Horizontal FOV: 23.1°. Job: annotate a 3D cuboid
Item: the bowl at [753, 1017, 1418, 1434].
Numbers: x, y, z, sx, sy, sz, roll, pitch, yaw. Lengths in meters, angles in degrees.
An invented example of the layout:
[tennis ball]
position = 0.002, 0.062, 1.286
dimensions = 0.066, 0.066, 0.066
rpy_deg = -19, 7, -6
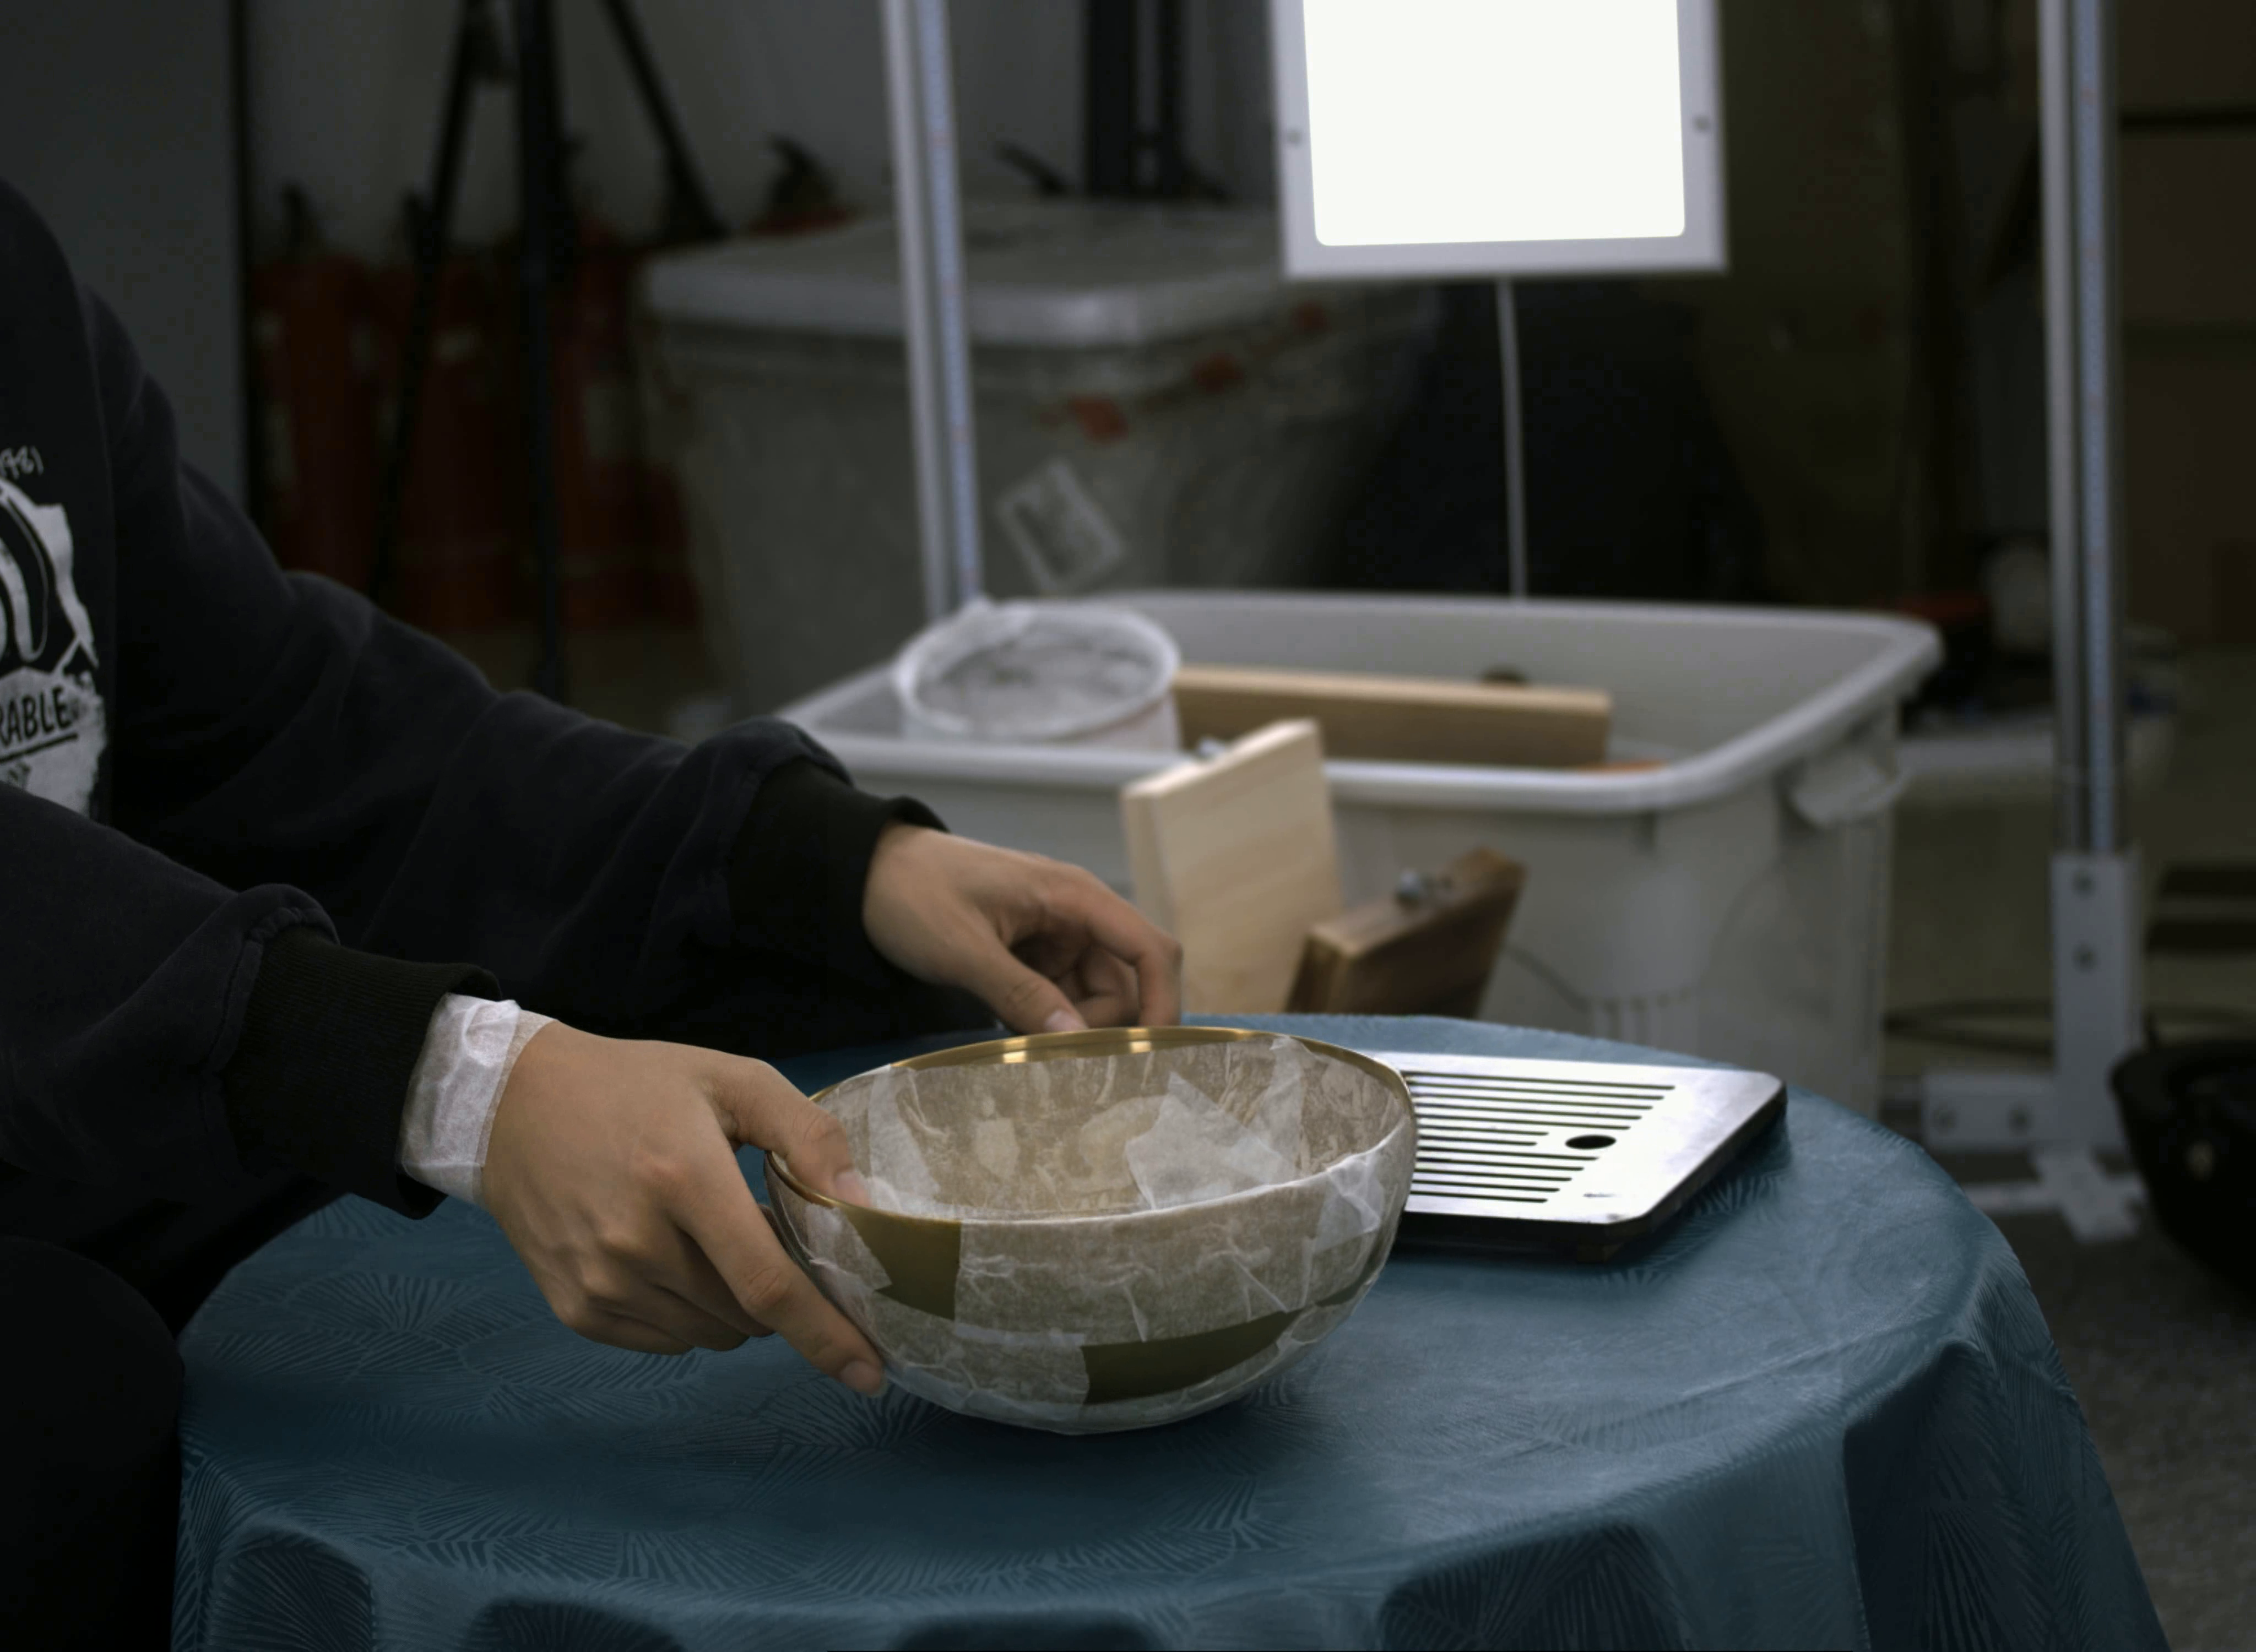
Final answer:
[bowl]
position = -0.009, 0.130, 1.692
dimensions = 0.214, 0.095, 0.214
rpy_deg = -6, 14, 0

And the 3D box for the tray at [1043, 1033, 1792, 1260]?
[tray]
position = 0.063, 0.109, 1.908
dimensions = 0.311, 0.019, 0.166
rpy_deg = 2, 15, 27
